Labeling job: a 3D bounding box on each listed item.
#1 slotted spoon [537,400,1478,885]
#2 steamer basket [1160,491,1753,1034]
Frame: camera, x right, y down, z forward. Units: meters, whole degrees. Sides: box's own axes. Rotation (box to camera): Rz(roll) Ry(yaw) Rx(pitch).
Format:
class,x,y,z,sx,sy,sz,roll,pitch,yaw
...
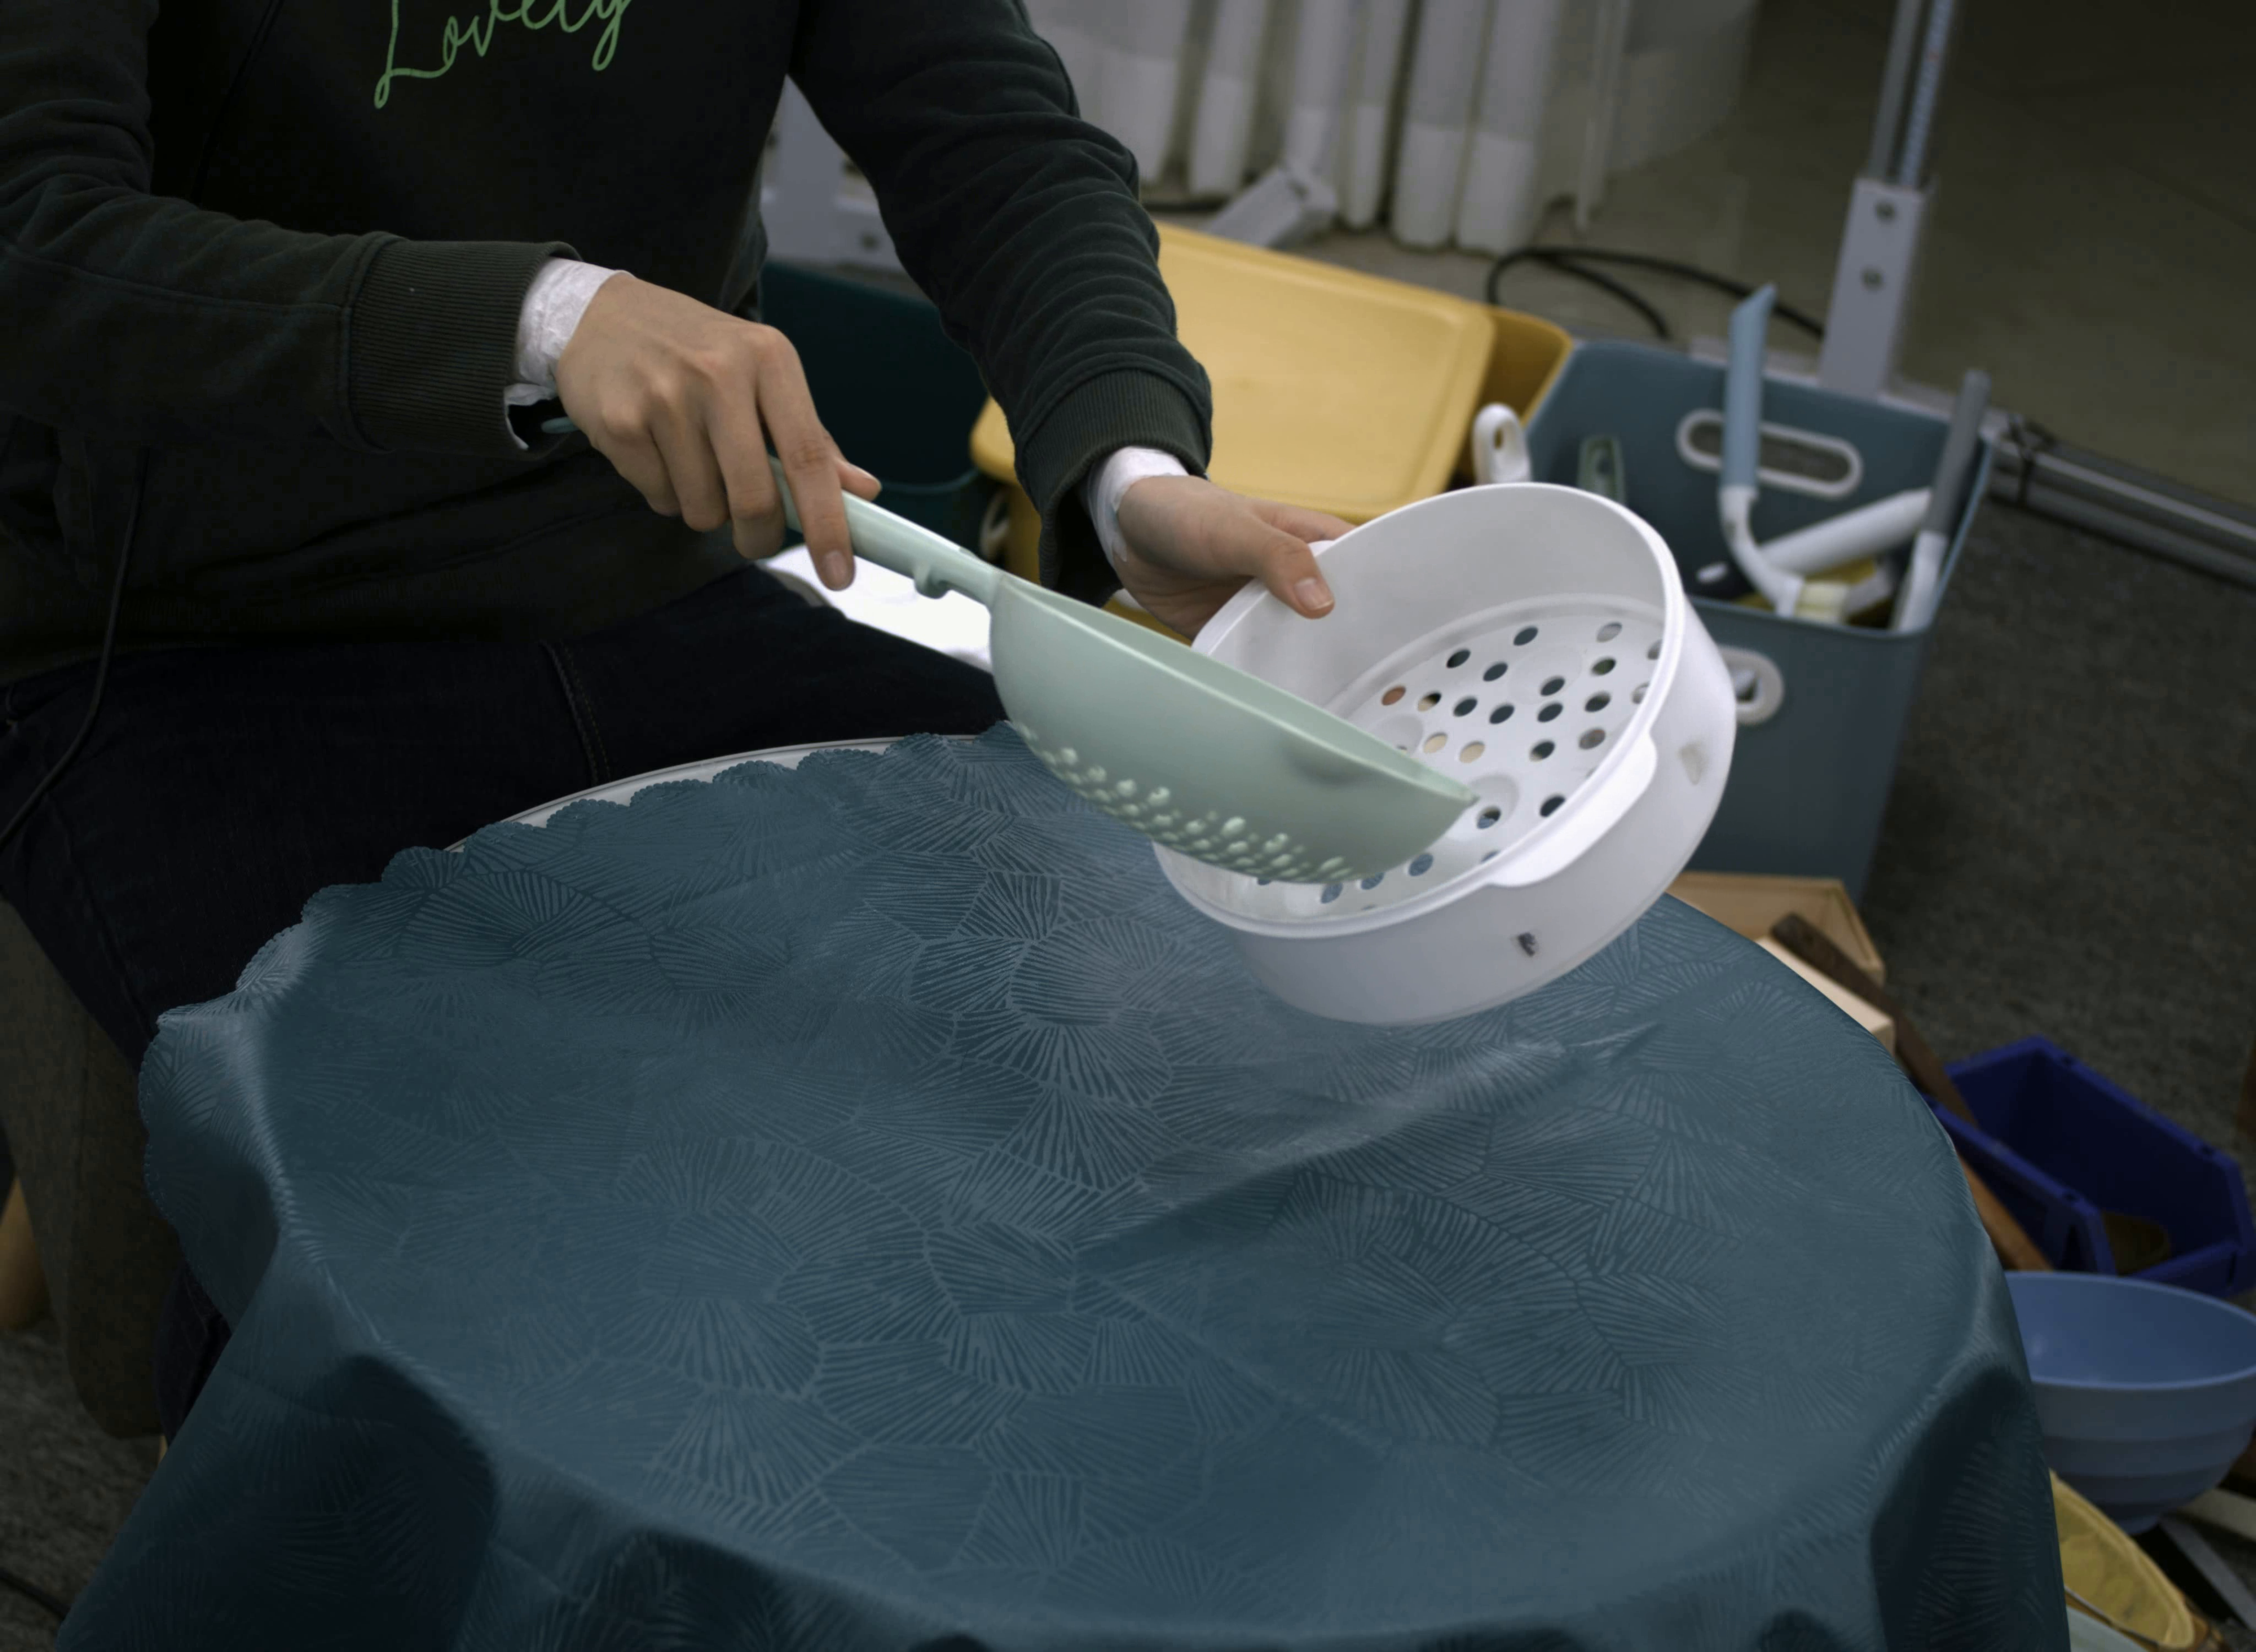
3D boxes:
class,x,y,z,sx,sy,sz,roll,pitch,yaw
slotted spoon,-0.051,-0.074,1.772,0.361,0.075,0.168,35,8,23
steamer basket,0.113,-0.020,1.791,0.202,0.068,0.232,-43,36,-10
